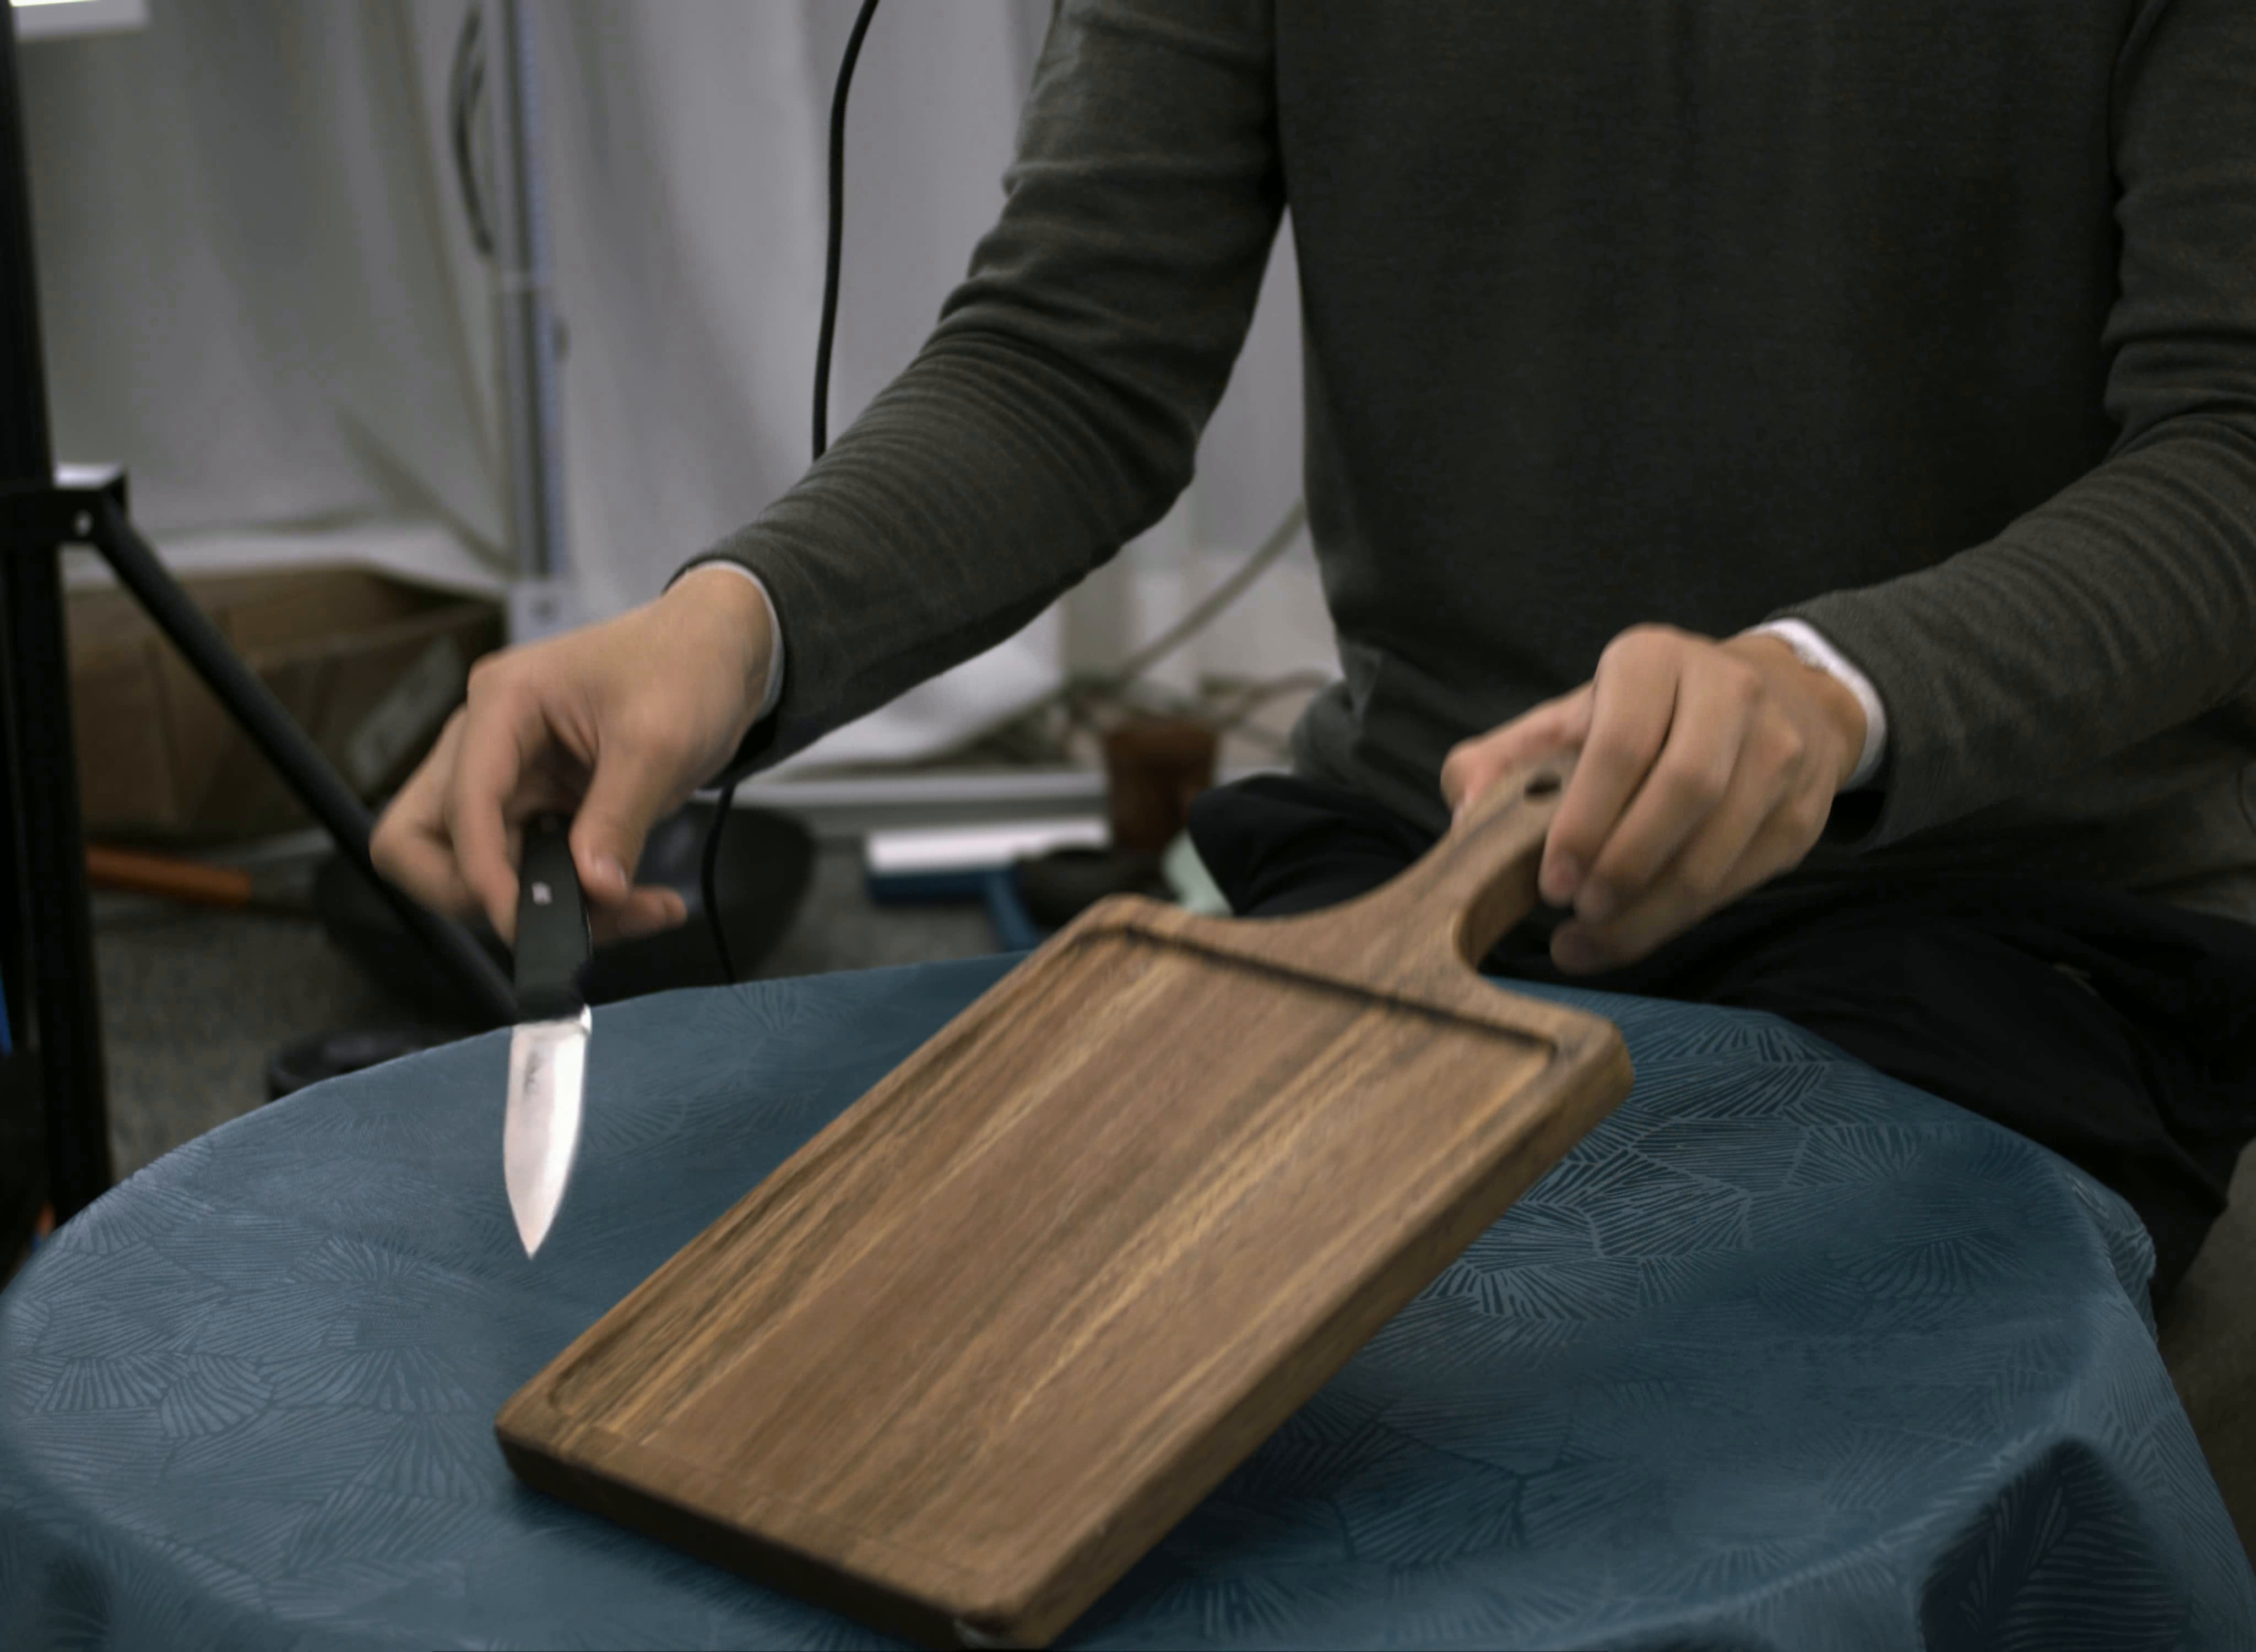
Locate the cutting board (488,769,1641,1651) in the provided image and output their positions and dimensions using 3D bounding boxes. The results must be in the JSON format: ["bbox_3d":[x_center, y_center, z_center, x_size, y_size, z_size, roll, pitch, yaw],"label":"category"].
[{"bbox_3d":[0.016,0.085,1.389,0.205,0.023,0.347,13,42,44],"label":"cutting board"}]

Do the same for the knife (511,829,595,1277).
[{"bbox_3d":[-0.161,0.062,1.493,0.024,0.016,0.240,-8,28,-1],"label":"knife"}]
